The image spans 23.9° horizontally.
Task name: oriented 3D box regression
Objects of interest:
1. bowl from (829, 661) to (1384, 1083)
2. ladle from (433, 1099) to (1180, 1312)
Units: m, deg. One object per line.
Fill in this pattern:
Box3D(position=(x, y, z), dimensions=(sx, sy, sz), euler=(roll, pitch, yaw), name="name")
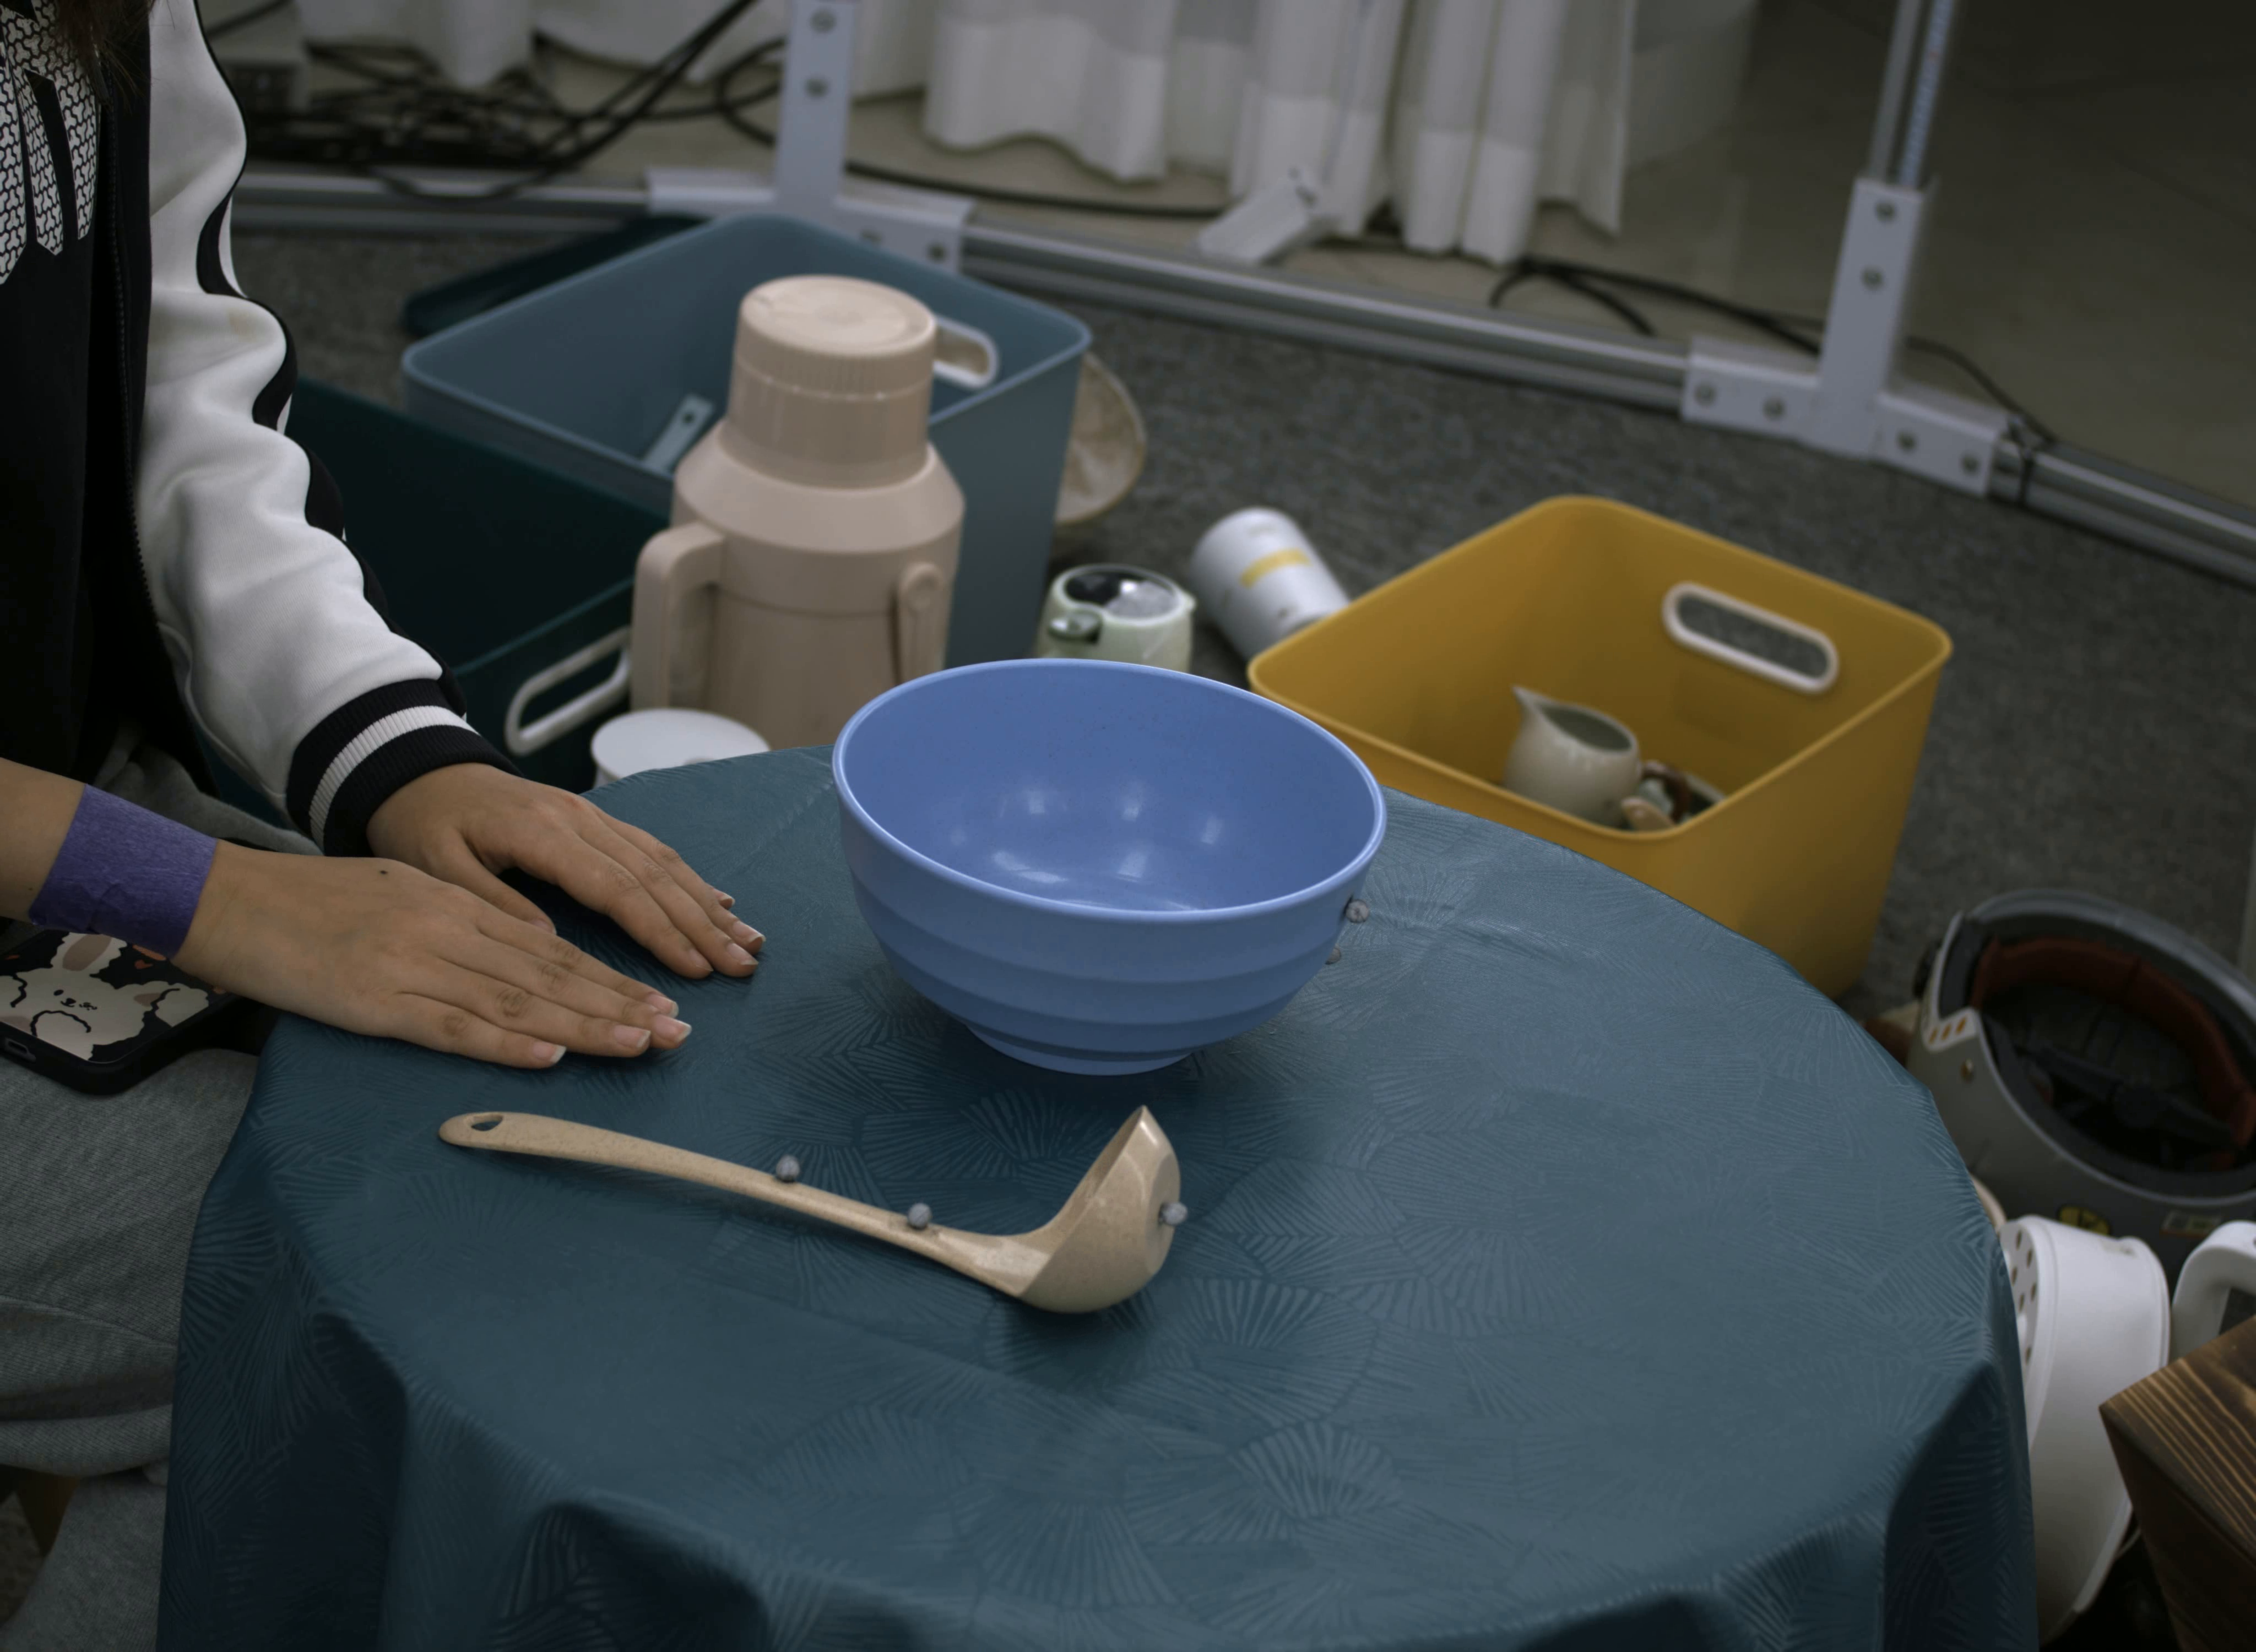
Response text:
Box3D(position=(-0.011, 0.028, 1.890), dimensions=(0.196, 0.095, 0.198), euler=(4, 28, -3), name="bowl")
Box3D(position=(-0.108, 0.102, 1.741), dimensions=(0.254, 0.072, 0.072), euler=(12, 33, 12), name="ladle")
